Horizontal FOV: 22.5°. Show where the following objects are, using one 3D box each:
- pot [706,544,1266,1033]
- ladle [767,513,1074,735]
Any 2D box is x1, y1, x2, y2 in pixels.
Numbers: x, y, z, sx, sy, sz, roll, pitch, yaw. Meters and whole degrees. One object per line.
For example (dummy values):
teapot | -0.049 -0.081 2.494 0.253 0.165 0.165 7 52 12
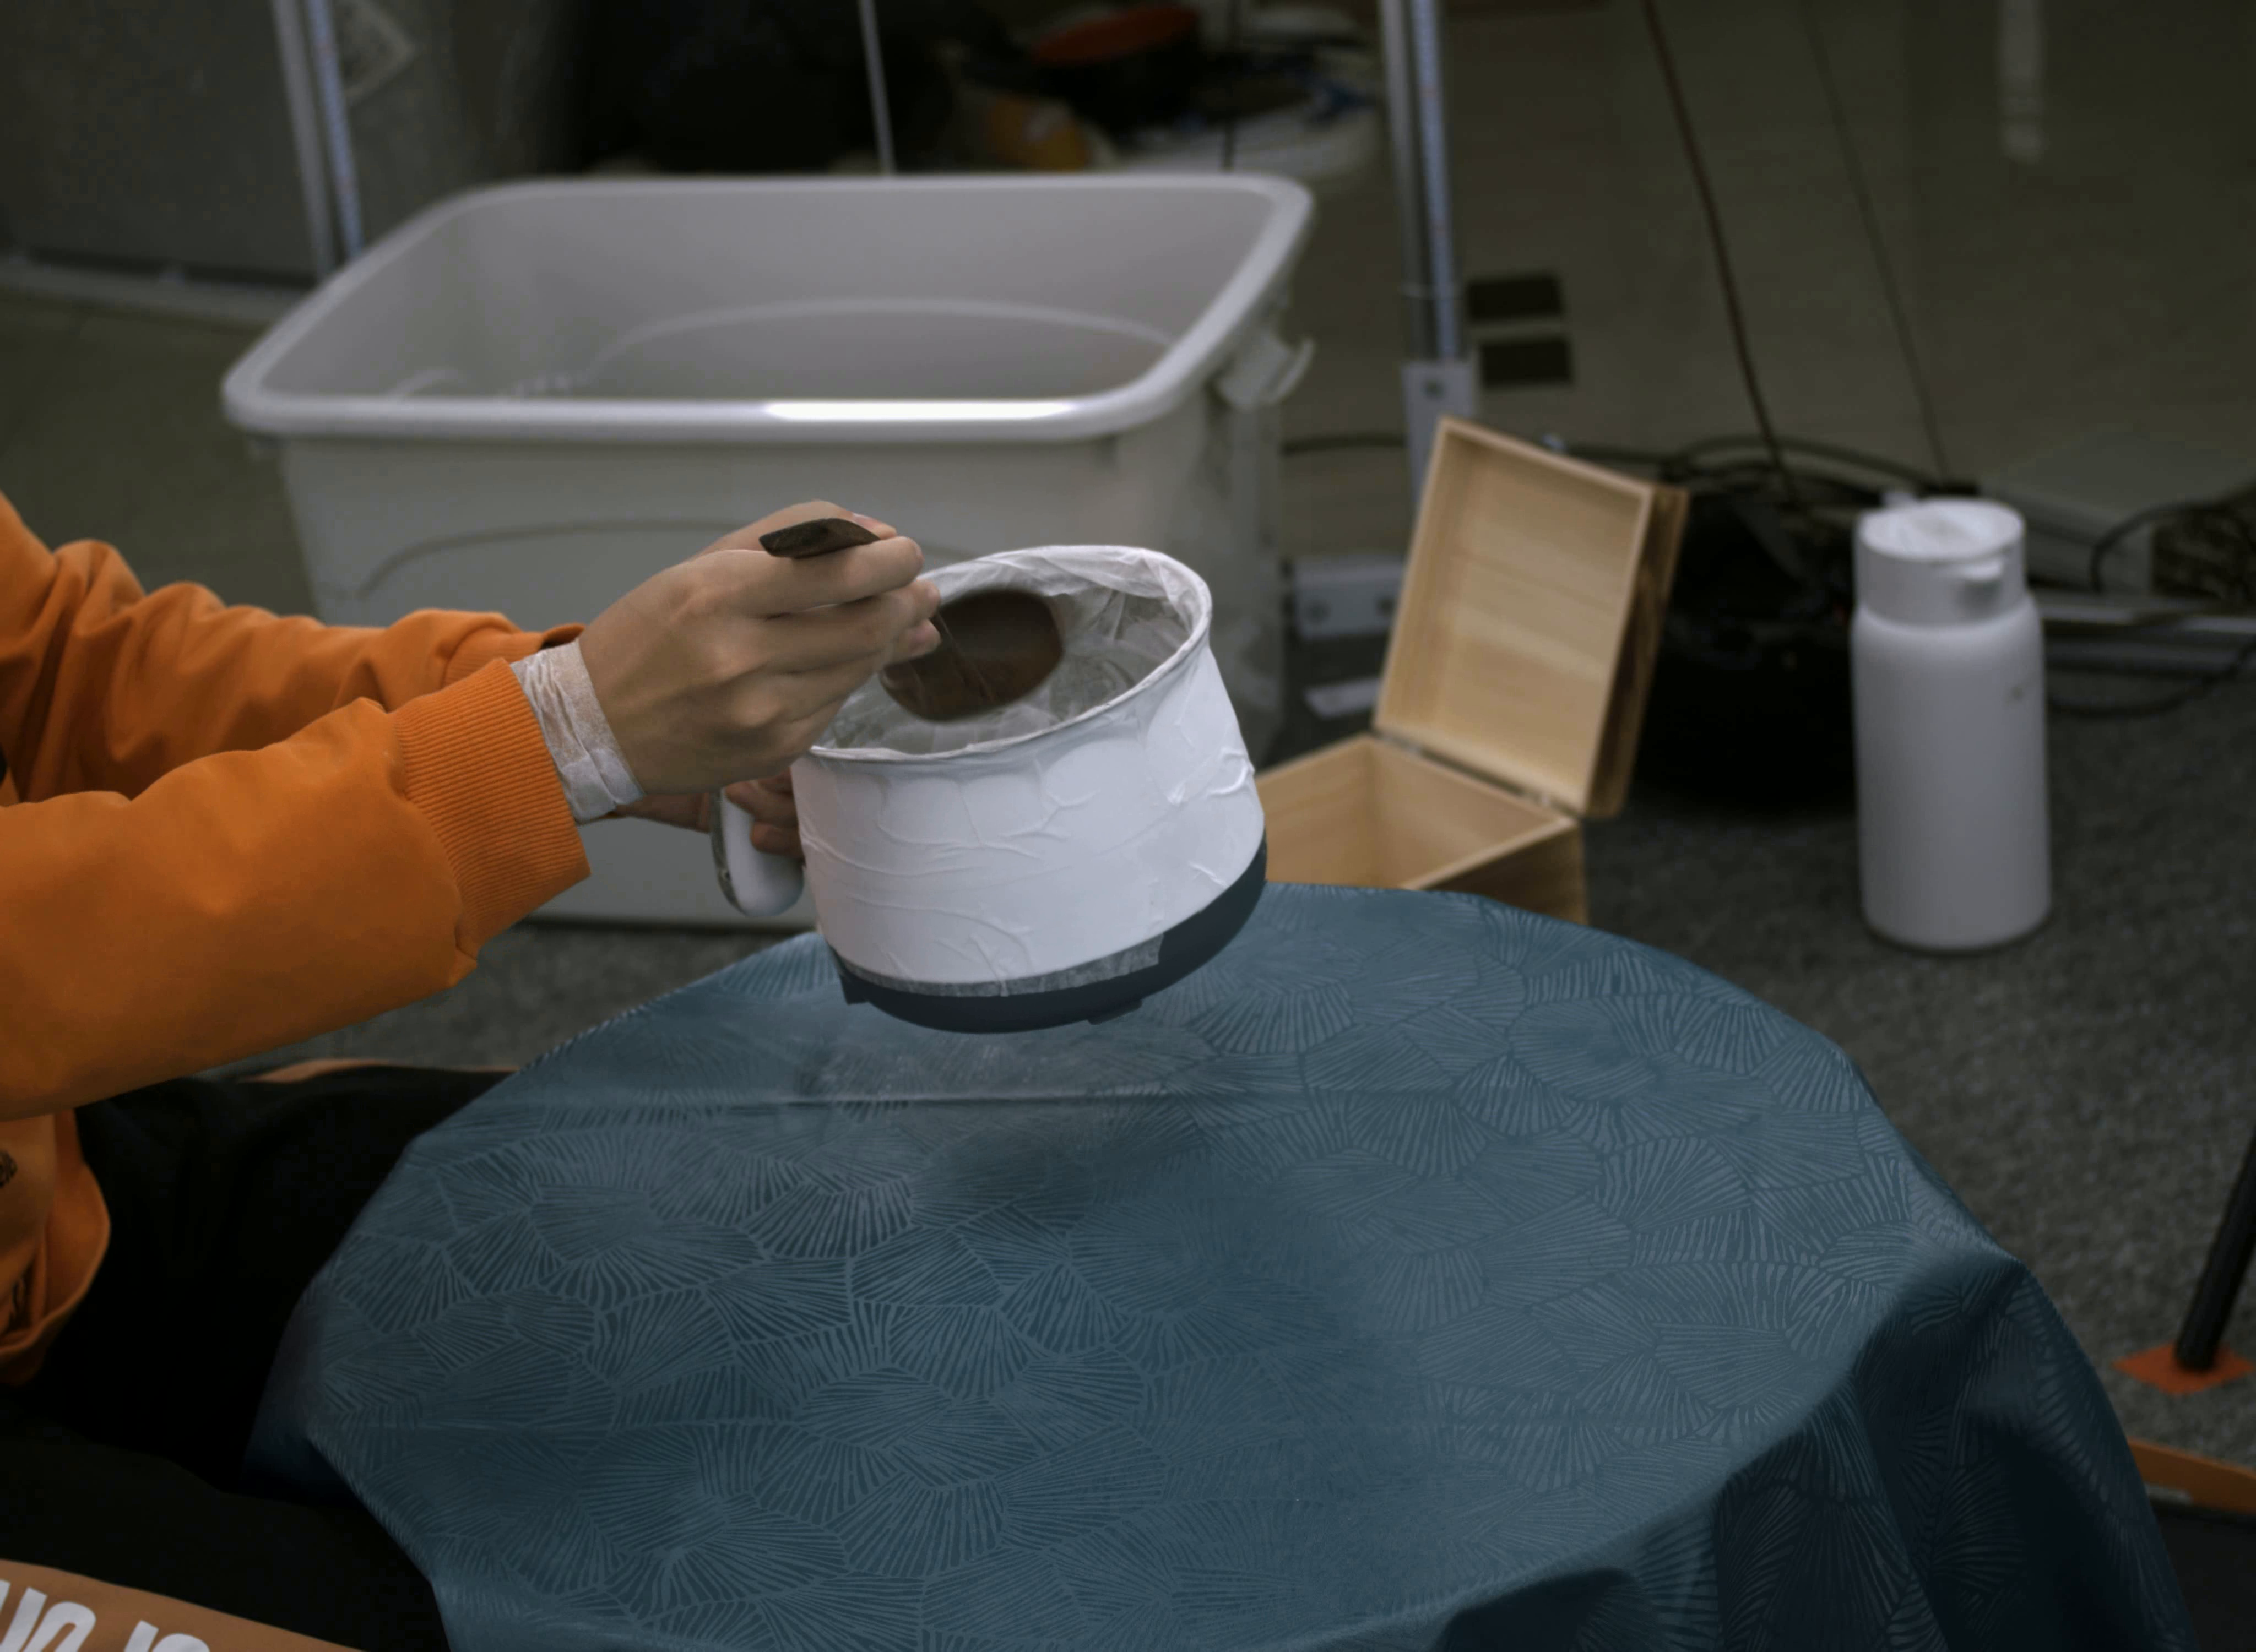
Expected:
pot | -0.065 -0.013 2.188 0.233 0.139 0.176 1 30 27
ladle | -0.083 -0.092 2.044 0.076 0.070 0.277 -17 -20 10
